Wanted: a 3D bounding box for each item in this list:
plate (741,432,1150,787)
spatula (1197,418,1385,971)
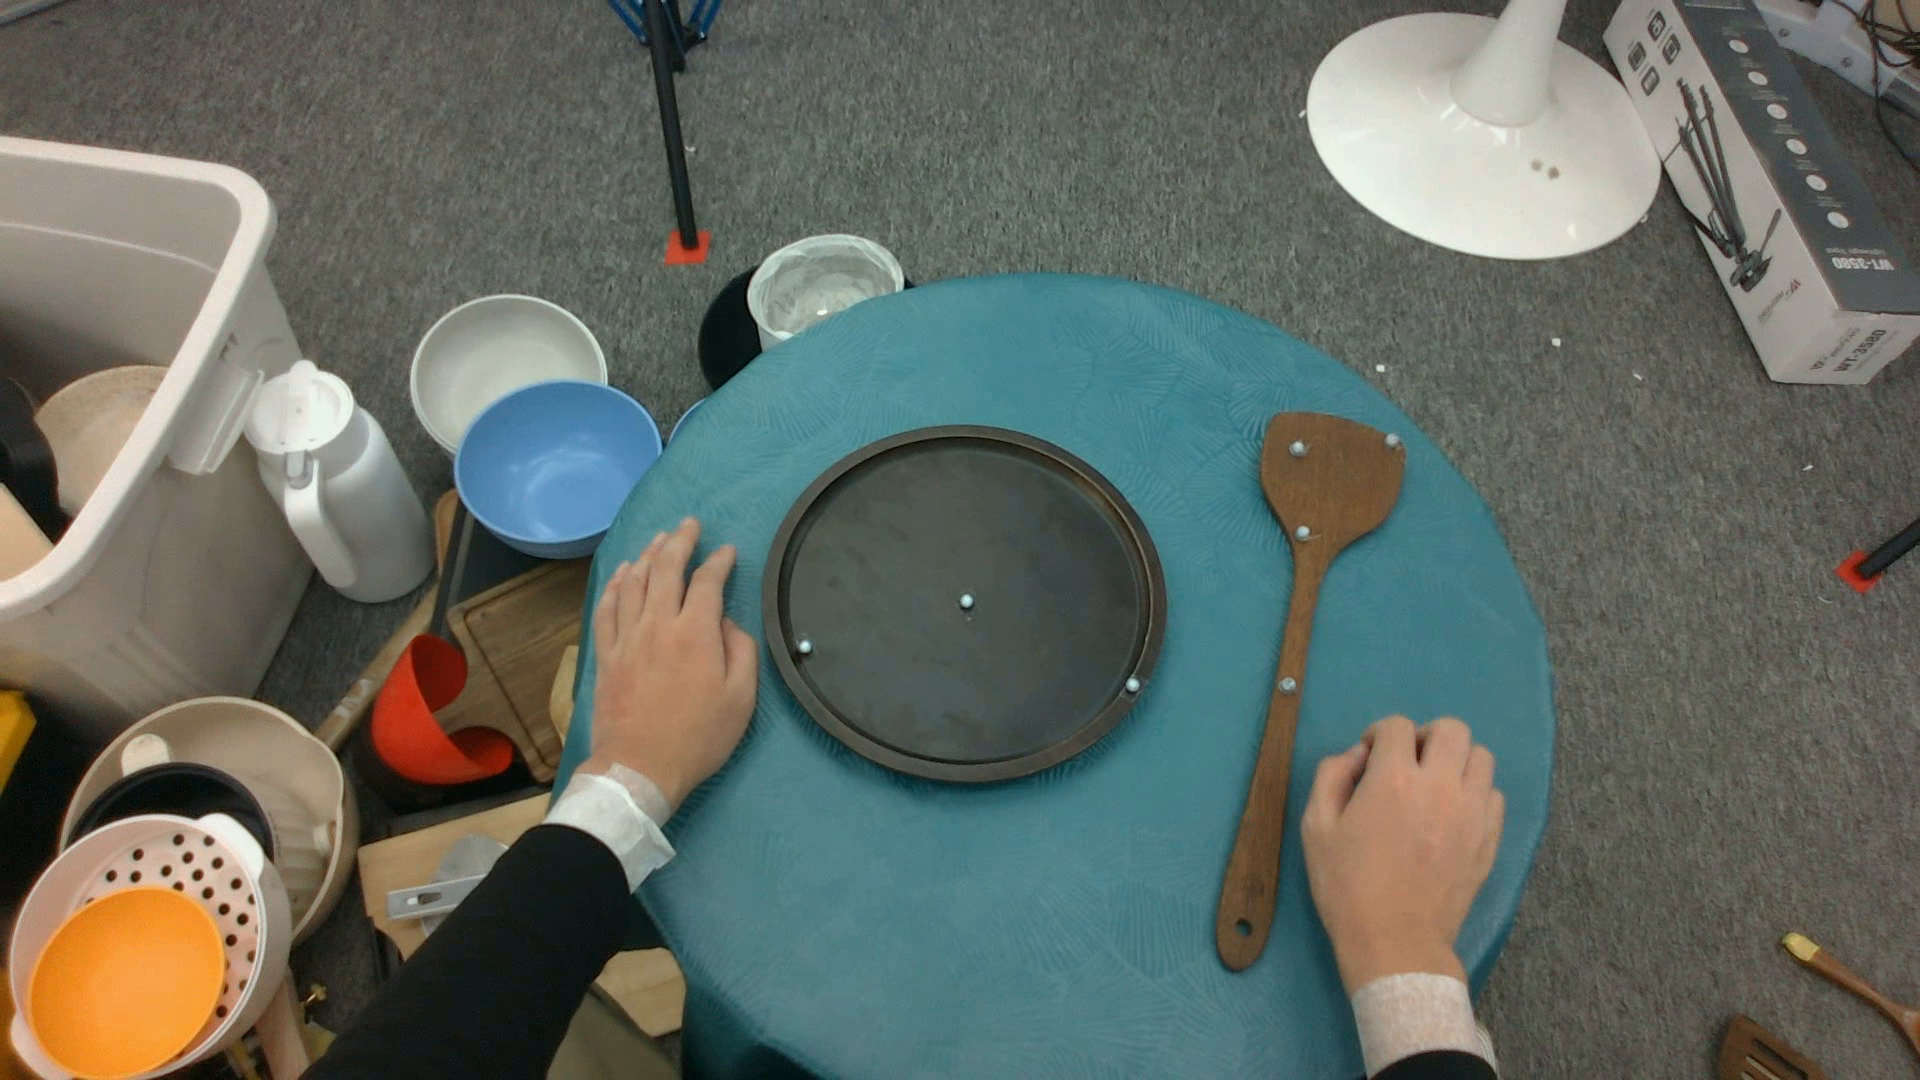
[{"bbox_3d":[-0.009,0.037,0.858,0.255,0.029,0.256,3,57,-4],"label":"plate"},{"bbox_3d":[0.194,0.077,0.851,0.096,0.016,0.388,15,58,6],"label":"spatula"}]
